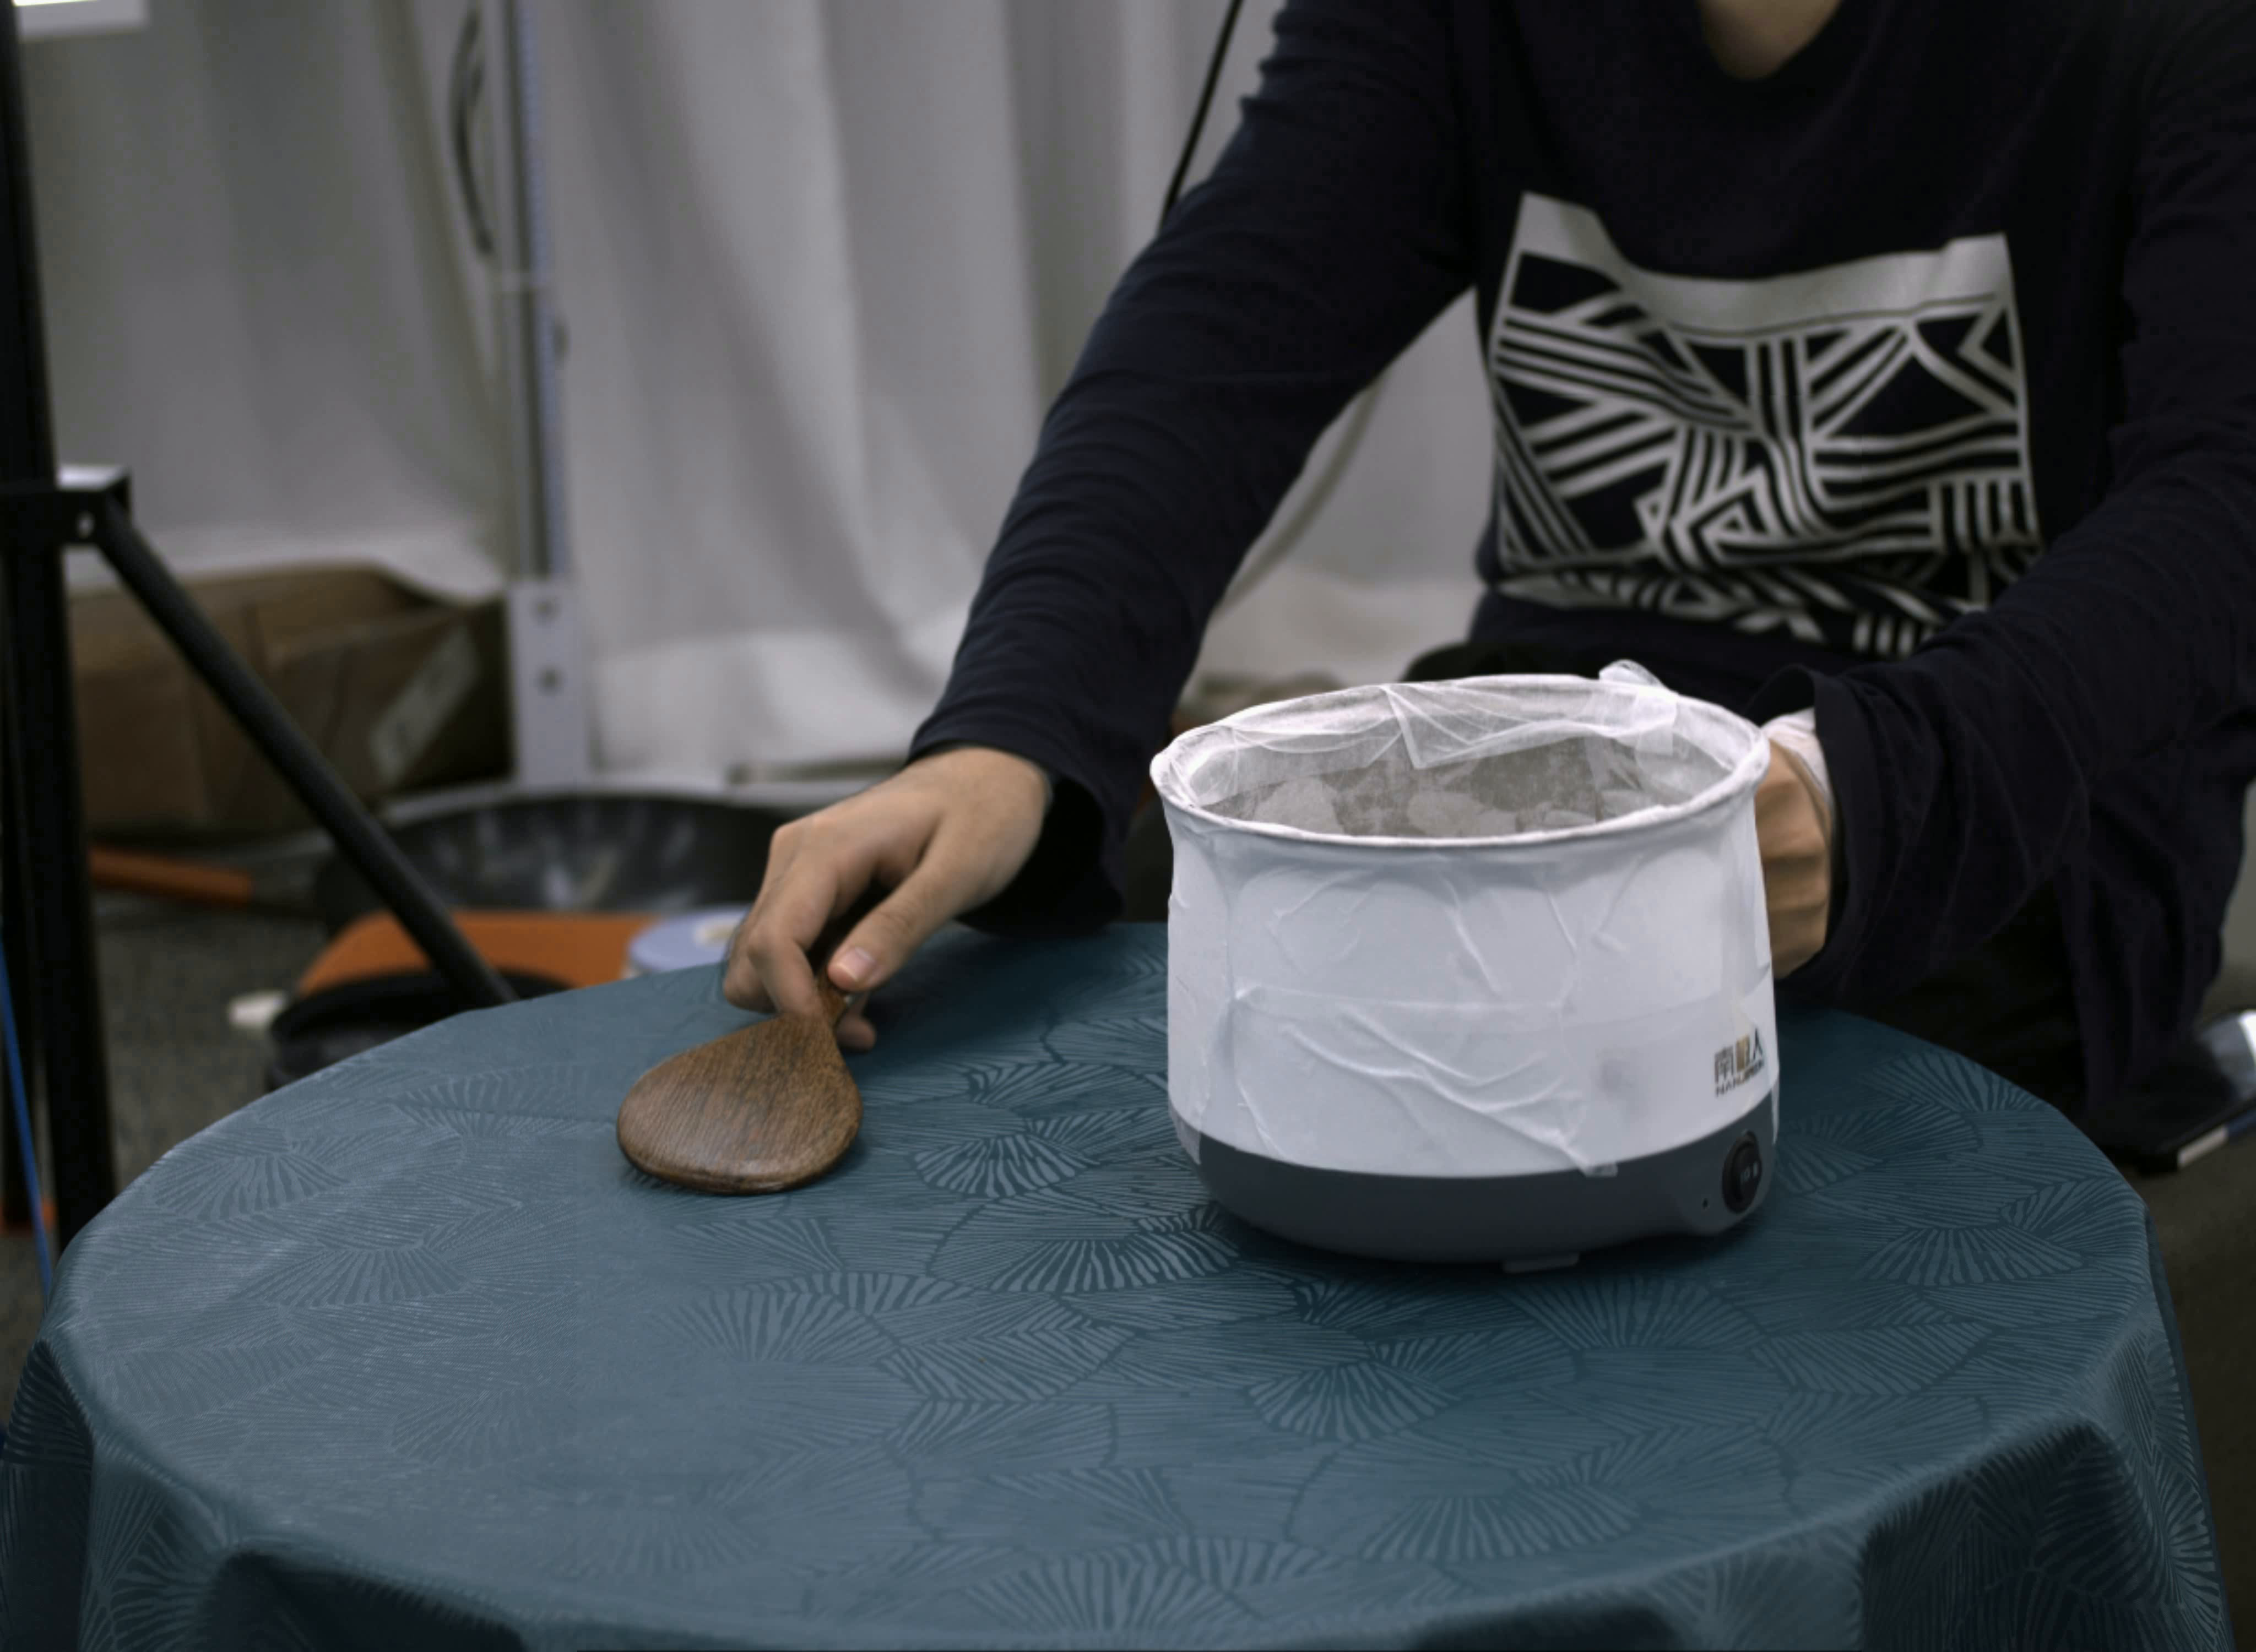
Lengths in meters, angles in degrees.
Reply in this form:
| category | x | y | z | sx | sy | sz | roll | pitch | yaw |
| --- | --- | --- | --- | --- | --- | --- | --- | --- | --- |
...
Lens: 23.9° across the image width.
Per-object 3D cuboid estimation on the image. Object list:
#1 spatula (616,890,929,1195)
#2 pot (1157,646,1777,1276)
| category | x | y | z | sx | sy | sz | roll | pitch | yaw |
| --- | --- | --- | --- | --- | --- | --- | --- | --- | --- |
| spatula | -0.099 | 0.065 | 1.669 | 0.072 | 0.009 | 0.214 | 10 | 25 | 12 |
| pot | 0.112 | 0.032 | 1.547 | 0.182 | 0.136 | 0.229 | 9 | 21 | 31 |
